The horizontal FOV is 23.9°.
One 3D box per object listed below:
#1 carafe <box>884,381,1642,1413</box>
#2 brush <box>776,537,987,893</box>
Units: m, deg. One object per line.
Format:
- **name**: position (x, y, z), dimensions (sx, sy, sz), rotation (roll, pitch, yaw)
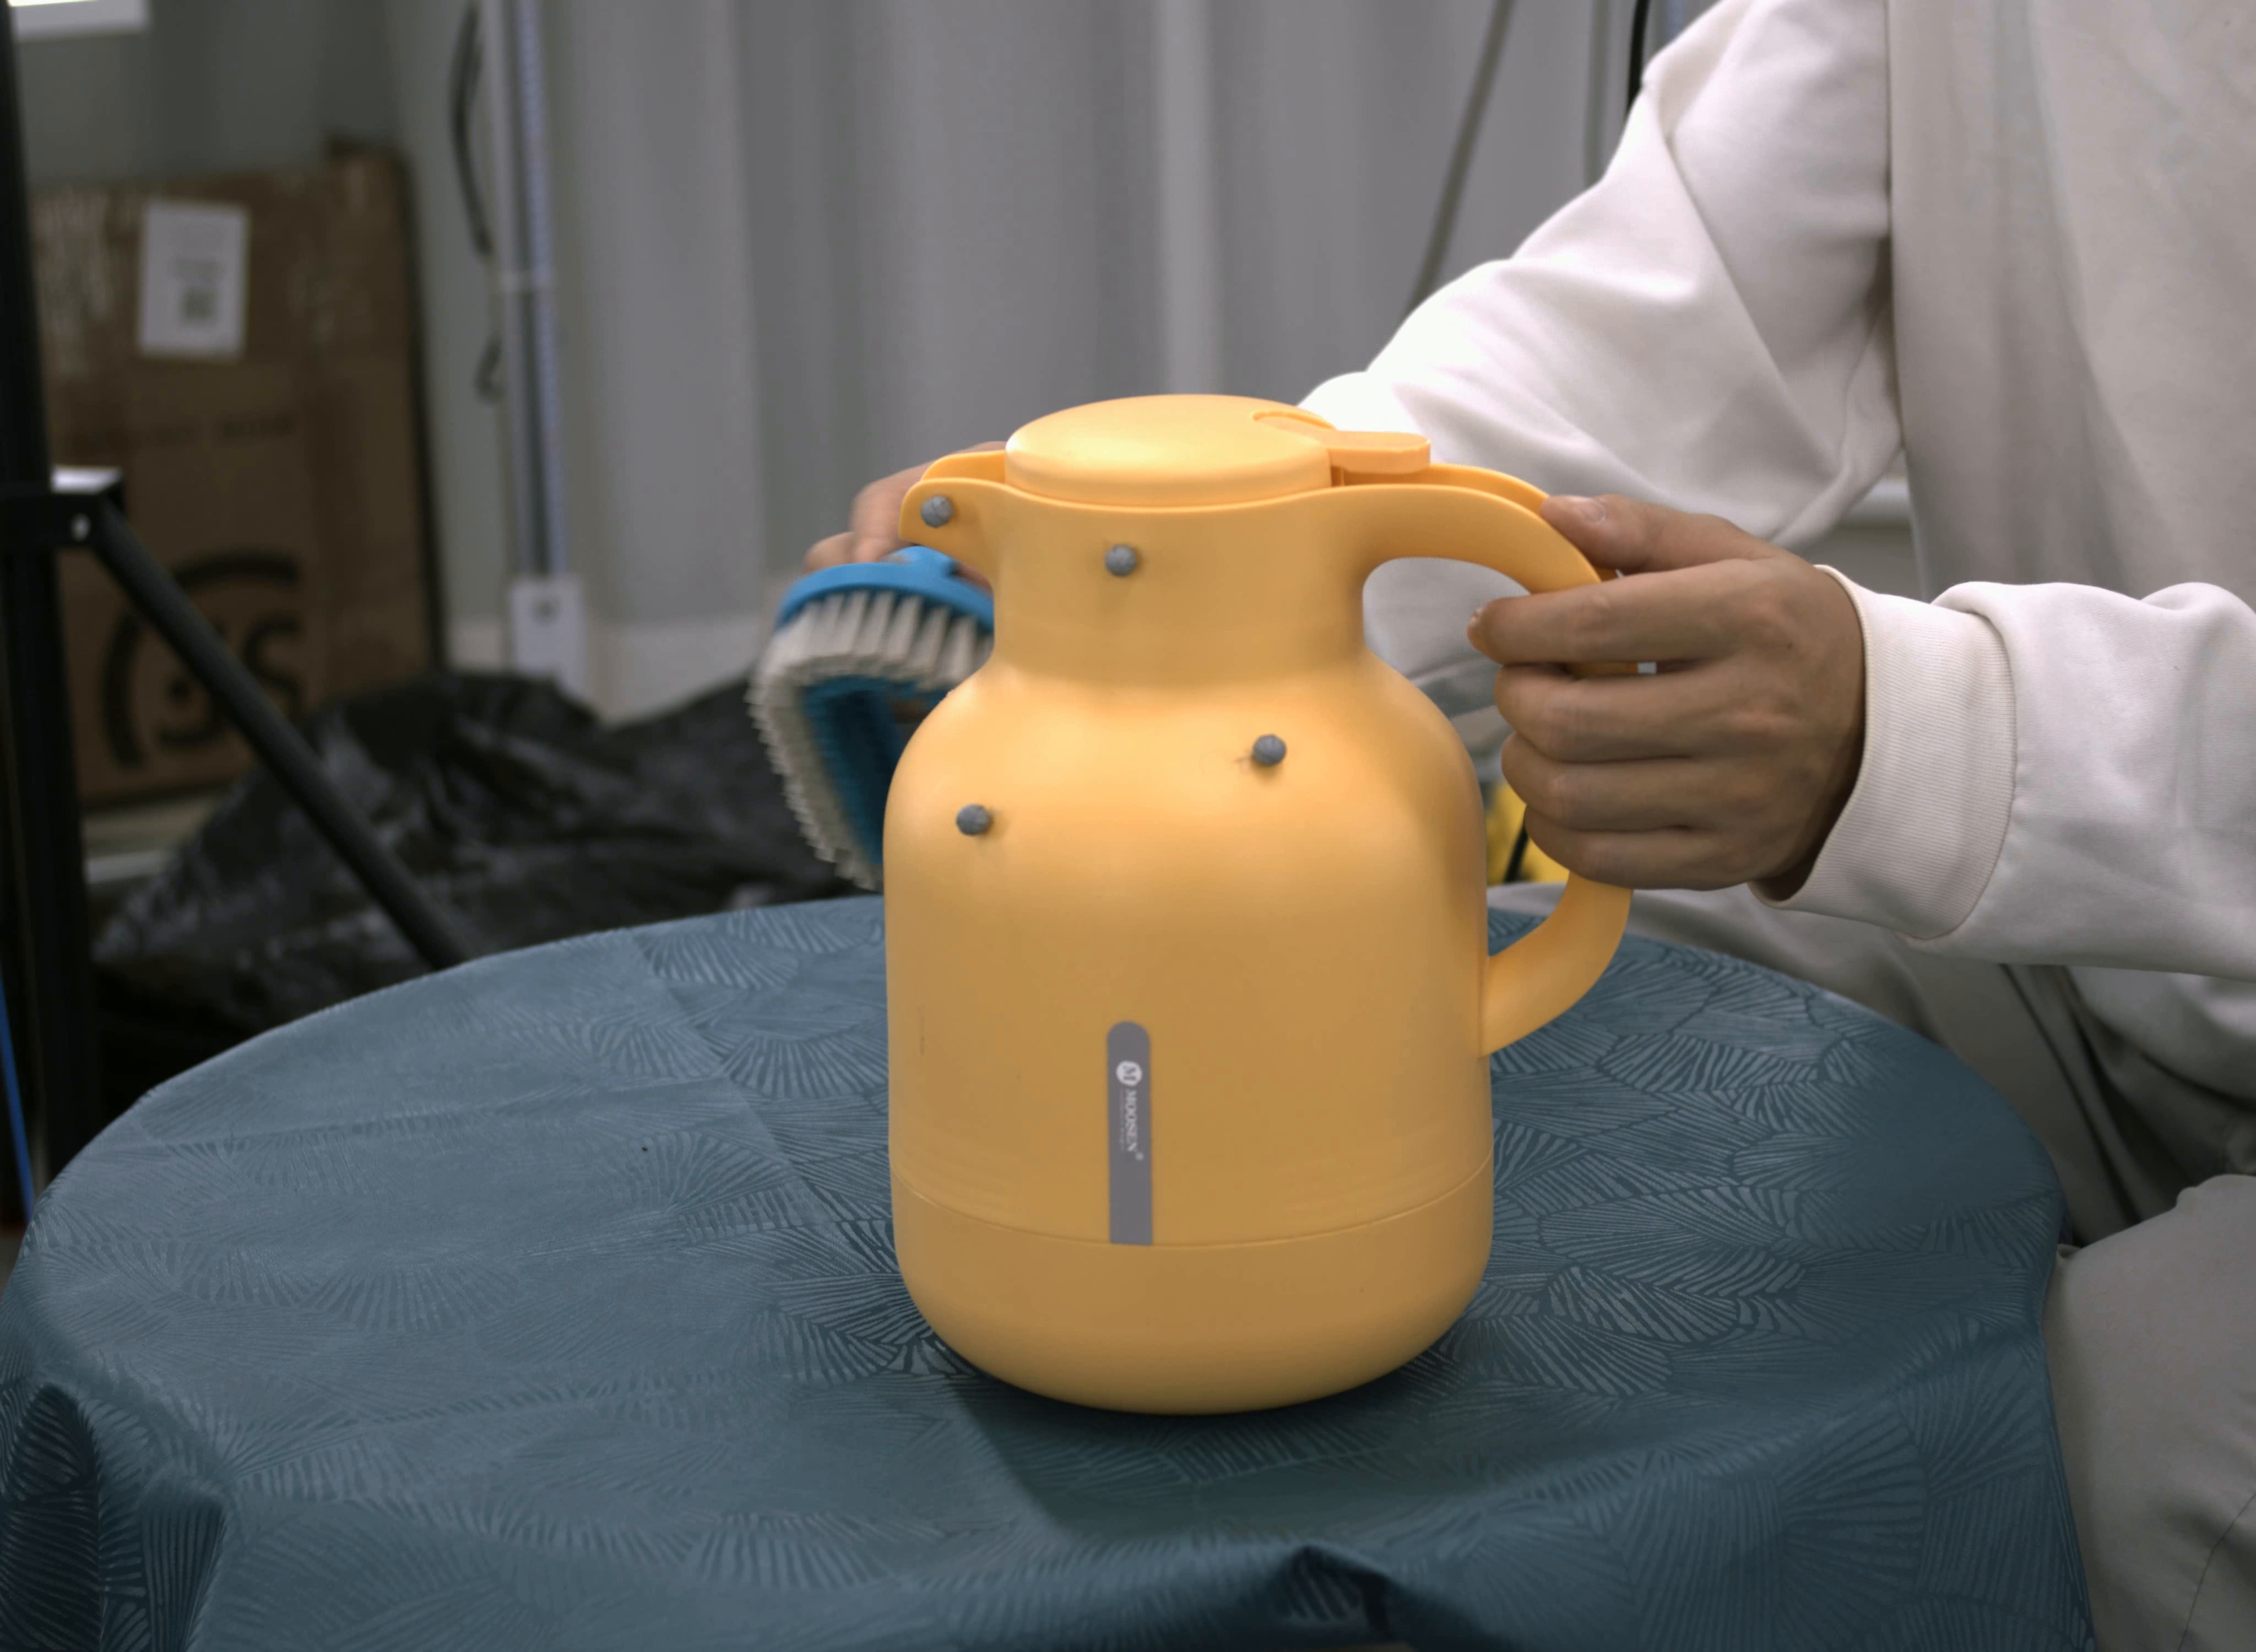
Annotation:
- **carafe**: position (0.035, 0.016, 1.404), dimensions (0.203, 0.260, 0.162), rotation (0, 18, 13)
- **brush**: position (-0.050, -0.037, 1.530), dimensions (0.085, 0.140, 0.064), rotation (-6, 55, 11)
